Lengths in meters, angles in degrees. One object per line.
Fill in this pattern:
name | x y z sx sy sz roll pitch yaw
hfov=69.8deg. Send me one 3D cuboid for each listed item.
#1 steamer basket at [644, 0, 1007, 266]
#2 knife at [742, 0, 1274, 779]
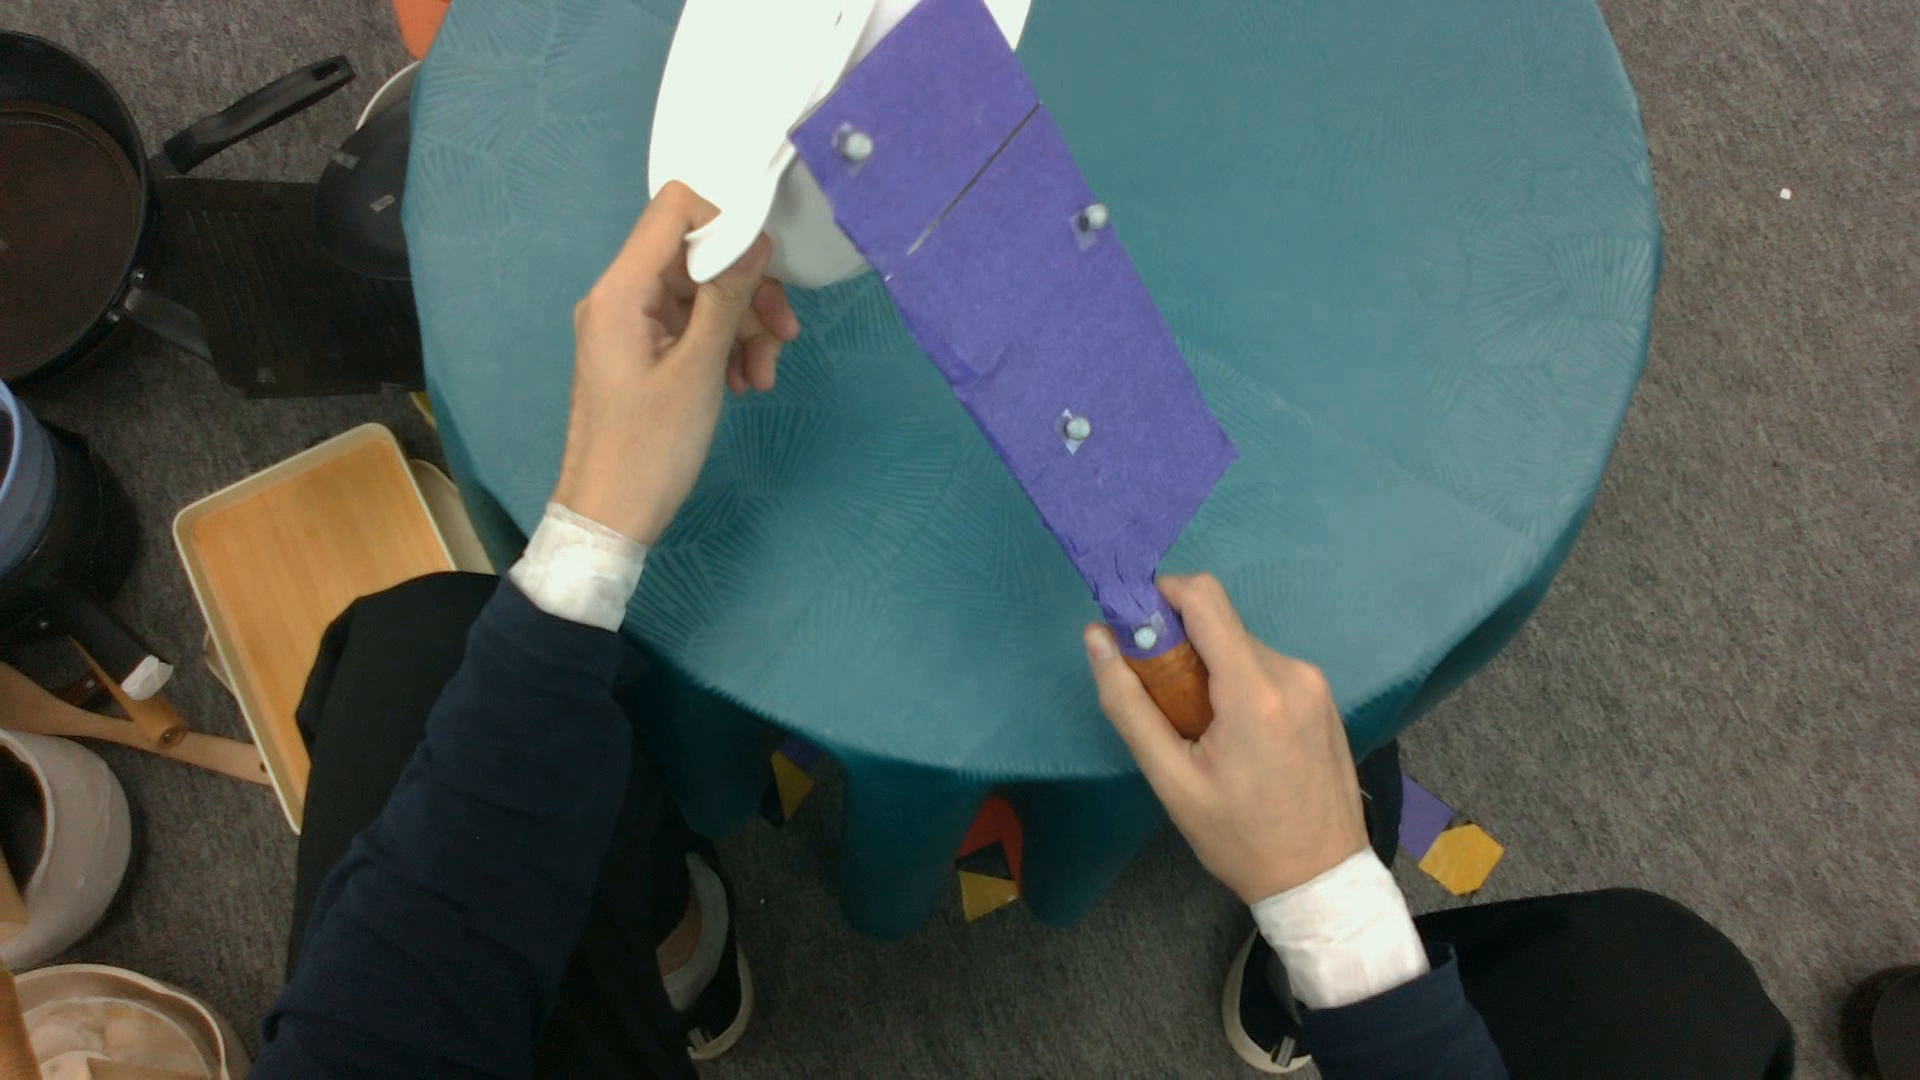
steamer basket | -0.054 -0.208 0.540 0.069 0.201 0.231 17 71 -31
knife | 0.049 -0.041 0.485 0.104 0.032 0.314 -52 124 -23
